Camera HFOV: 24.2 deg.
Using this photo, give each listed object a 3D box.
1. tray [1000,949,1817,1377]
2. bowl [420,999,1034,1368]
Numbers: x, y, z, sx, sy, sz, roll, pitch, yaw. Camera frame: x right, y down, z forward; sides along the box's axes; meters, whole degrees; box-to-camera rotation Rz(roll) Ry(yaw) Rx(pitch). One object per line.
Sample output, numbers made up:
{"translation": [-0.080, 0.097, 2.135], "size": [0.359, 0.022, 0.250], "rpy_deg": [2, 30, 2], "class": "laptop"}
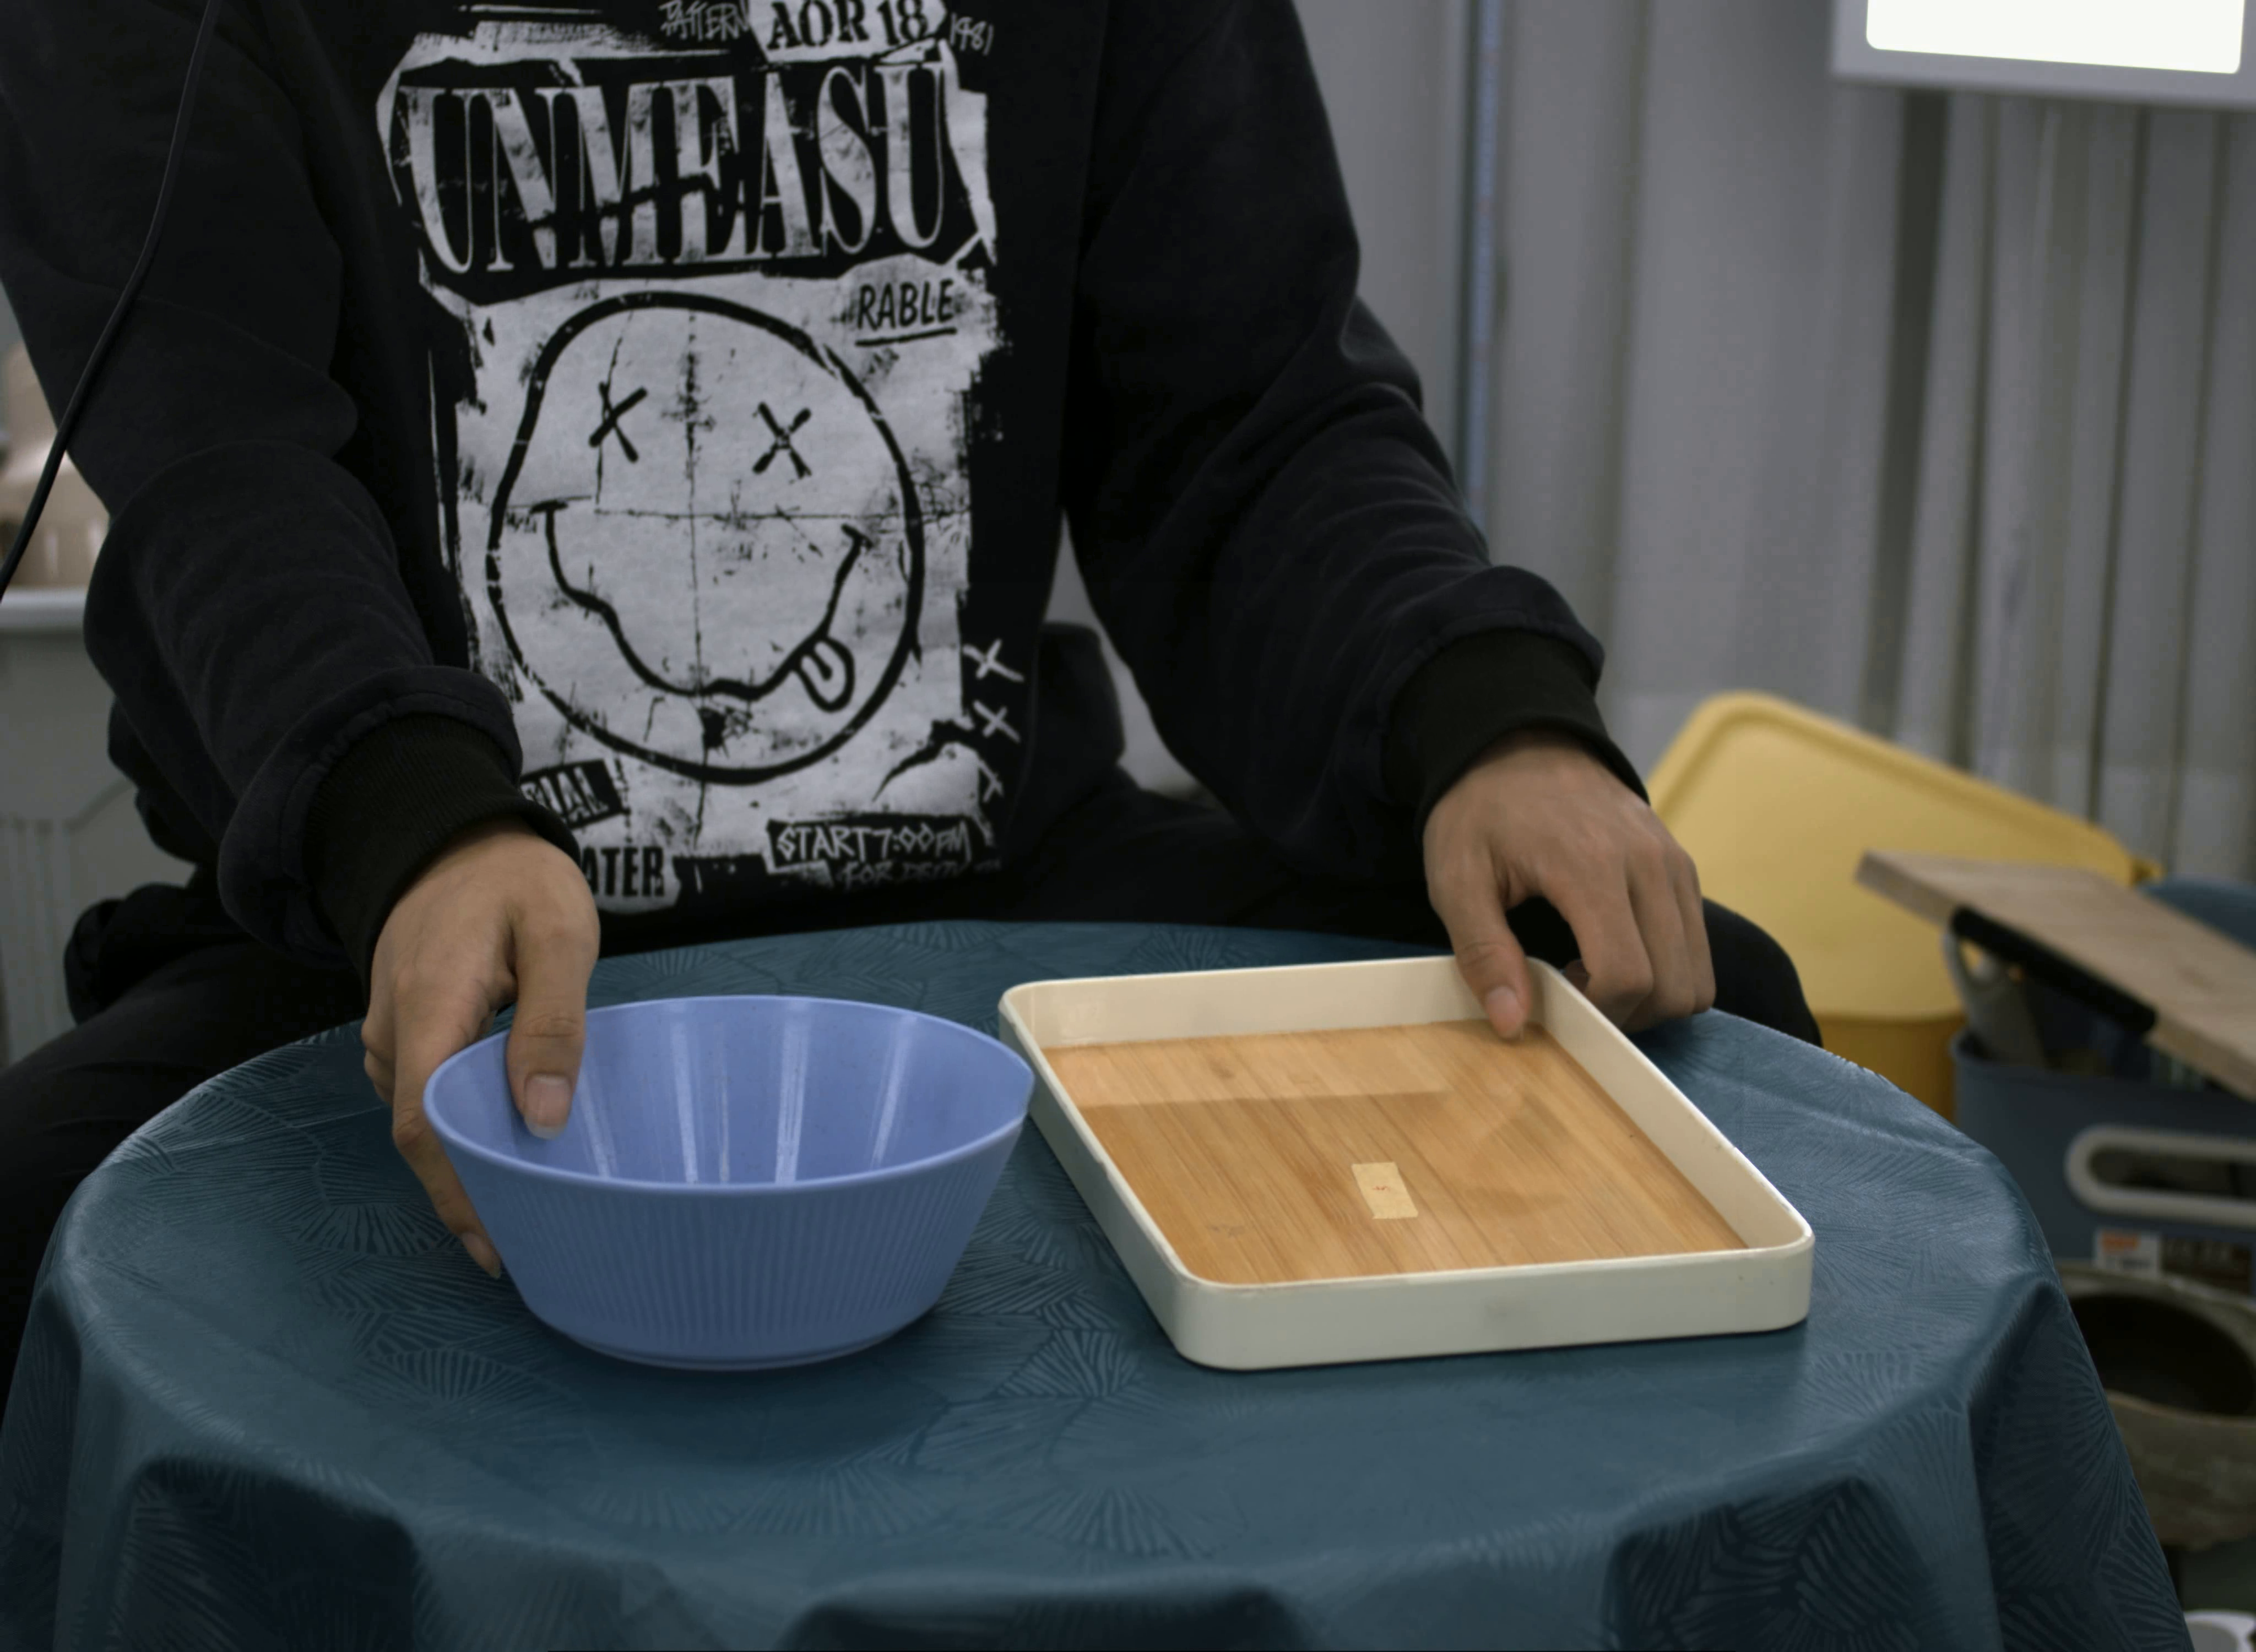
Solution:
{"translation": [0.079, 0.099, 1.630], "size": [0.192, 0.027, 0.297], "rpy_deg": [-3, 17, -12], "class": "tray"}
{"translation": [-0.115, 0.105, 1.517], "size": [0.175, 0.071, 0.175], "rpy_deg": [2, 16, 0], "class": "bowl"}
